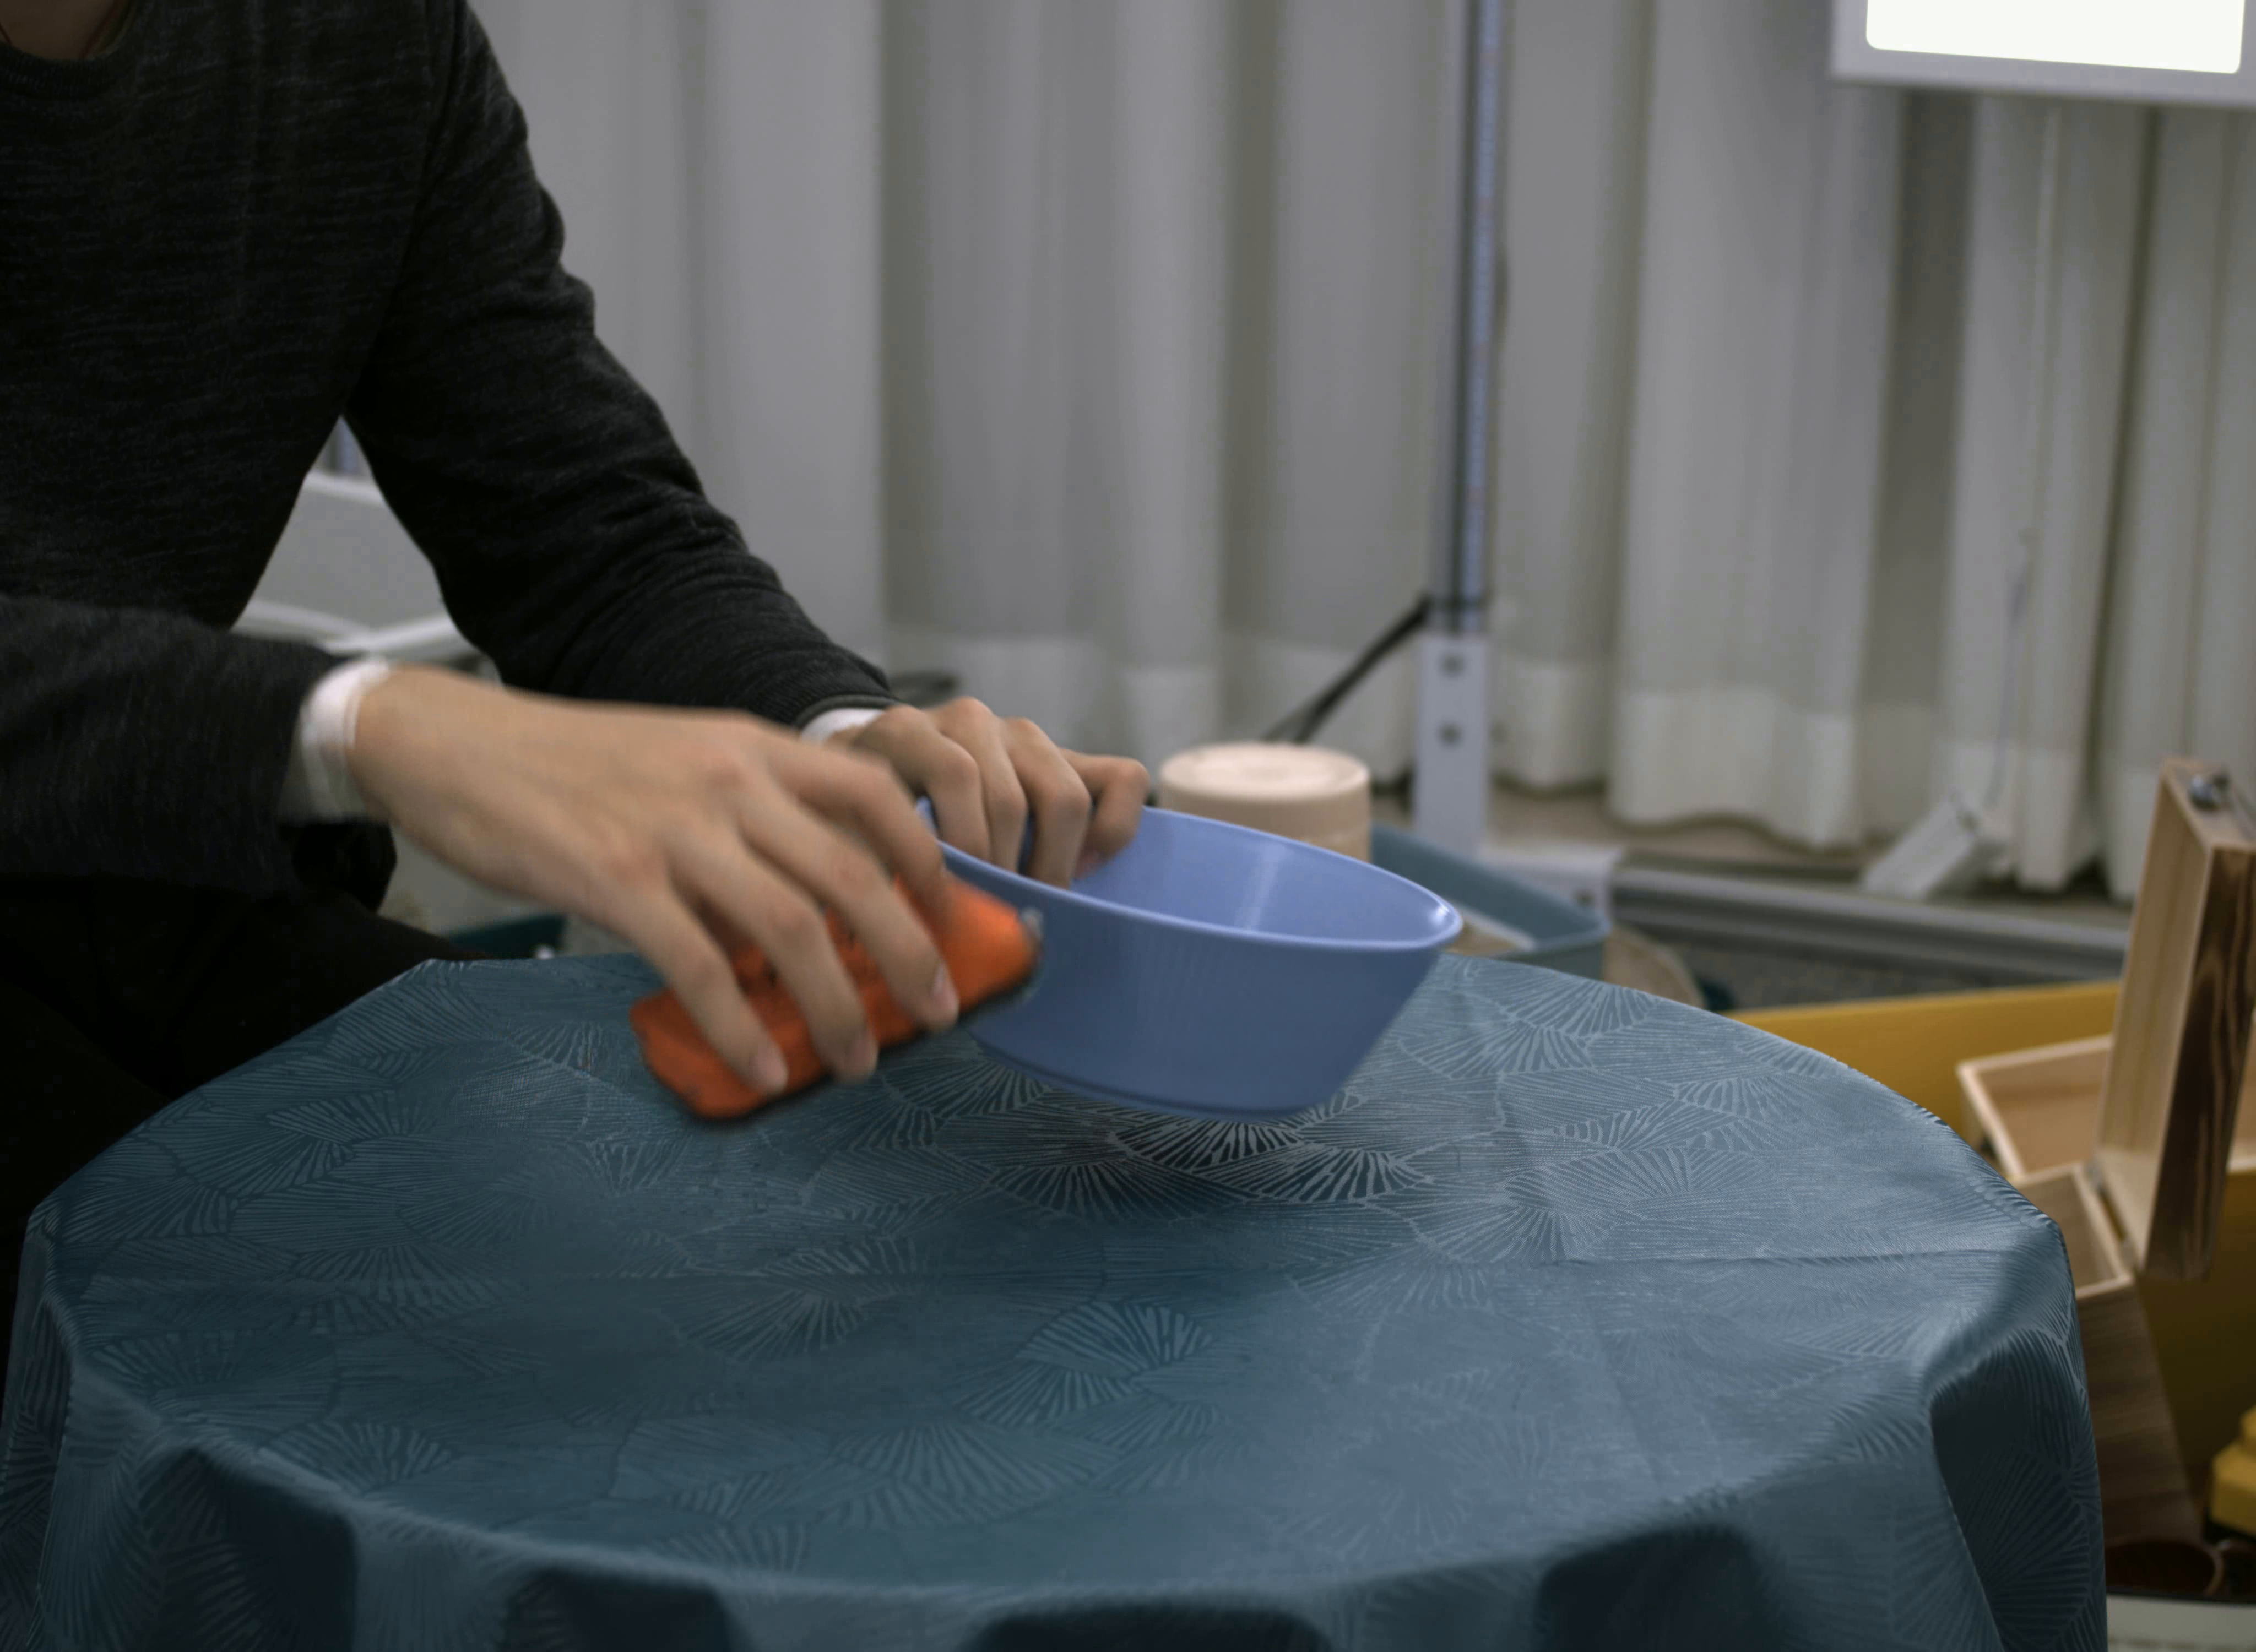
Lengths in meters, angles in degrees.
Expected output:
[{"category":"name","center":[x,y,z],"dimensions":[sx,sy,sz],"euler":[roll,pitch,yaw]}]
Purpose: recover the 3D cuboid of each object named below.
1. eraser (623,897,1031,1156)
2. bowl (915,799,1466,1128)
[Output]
[{"category":"eraser","center":[-0.085,0.056,1.493],"dimensions":[0.108,0.023,0.058],"euler":[-24,30,-24]},{"category":"bowl","center":[0.014,0.045,1.639],"dimensions":[0.175,0.070,0.175],"euler":[11,10,-2]}]
